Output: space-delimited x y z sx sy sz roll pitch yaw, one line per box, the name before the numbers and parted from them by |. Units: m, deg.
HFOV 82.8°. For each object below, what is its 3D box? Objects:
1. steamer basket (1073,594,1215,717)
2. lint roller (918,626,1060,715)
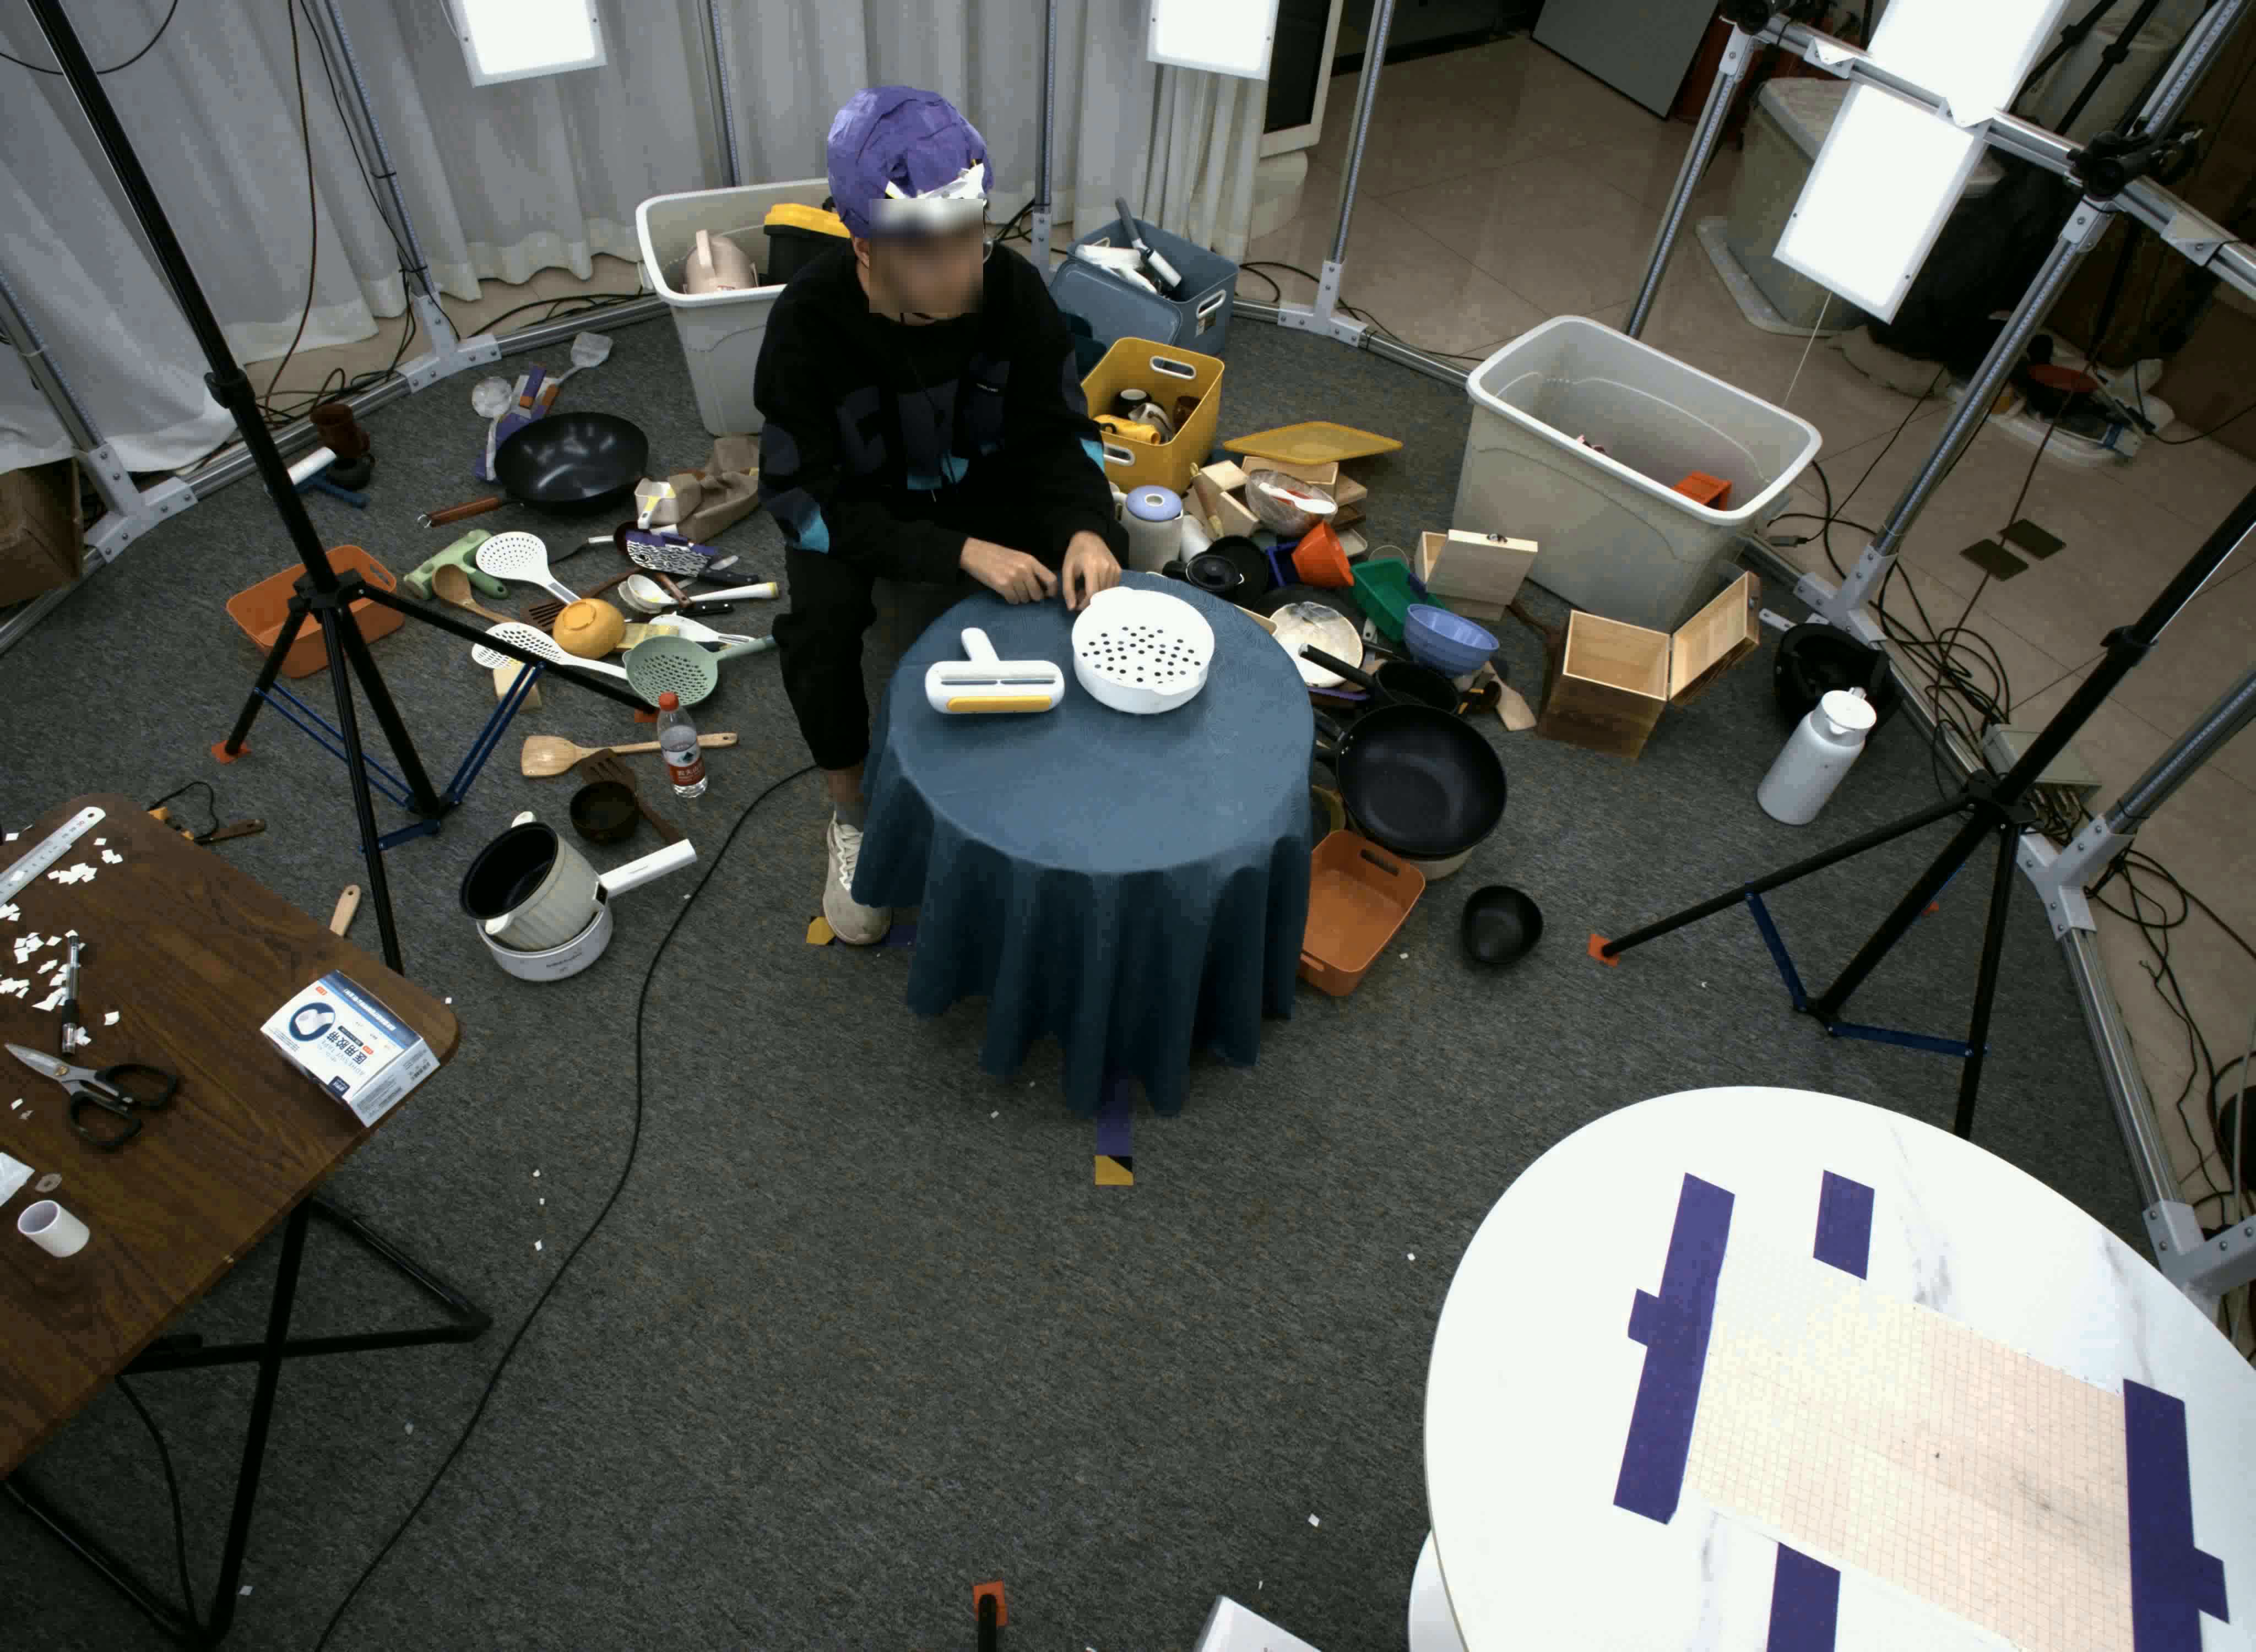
steamer basket | 0.022 -0.242 1.839 0.202 0.067 0.236 -18 50 -20
lint roller | -0.202 -0.230 1.811 0.192 0.072 0.197 -3 48 -13
